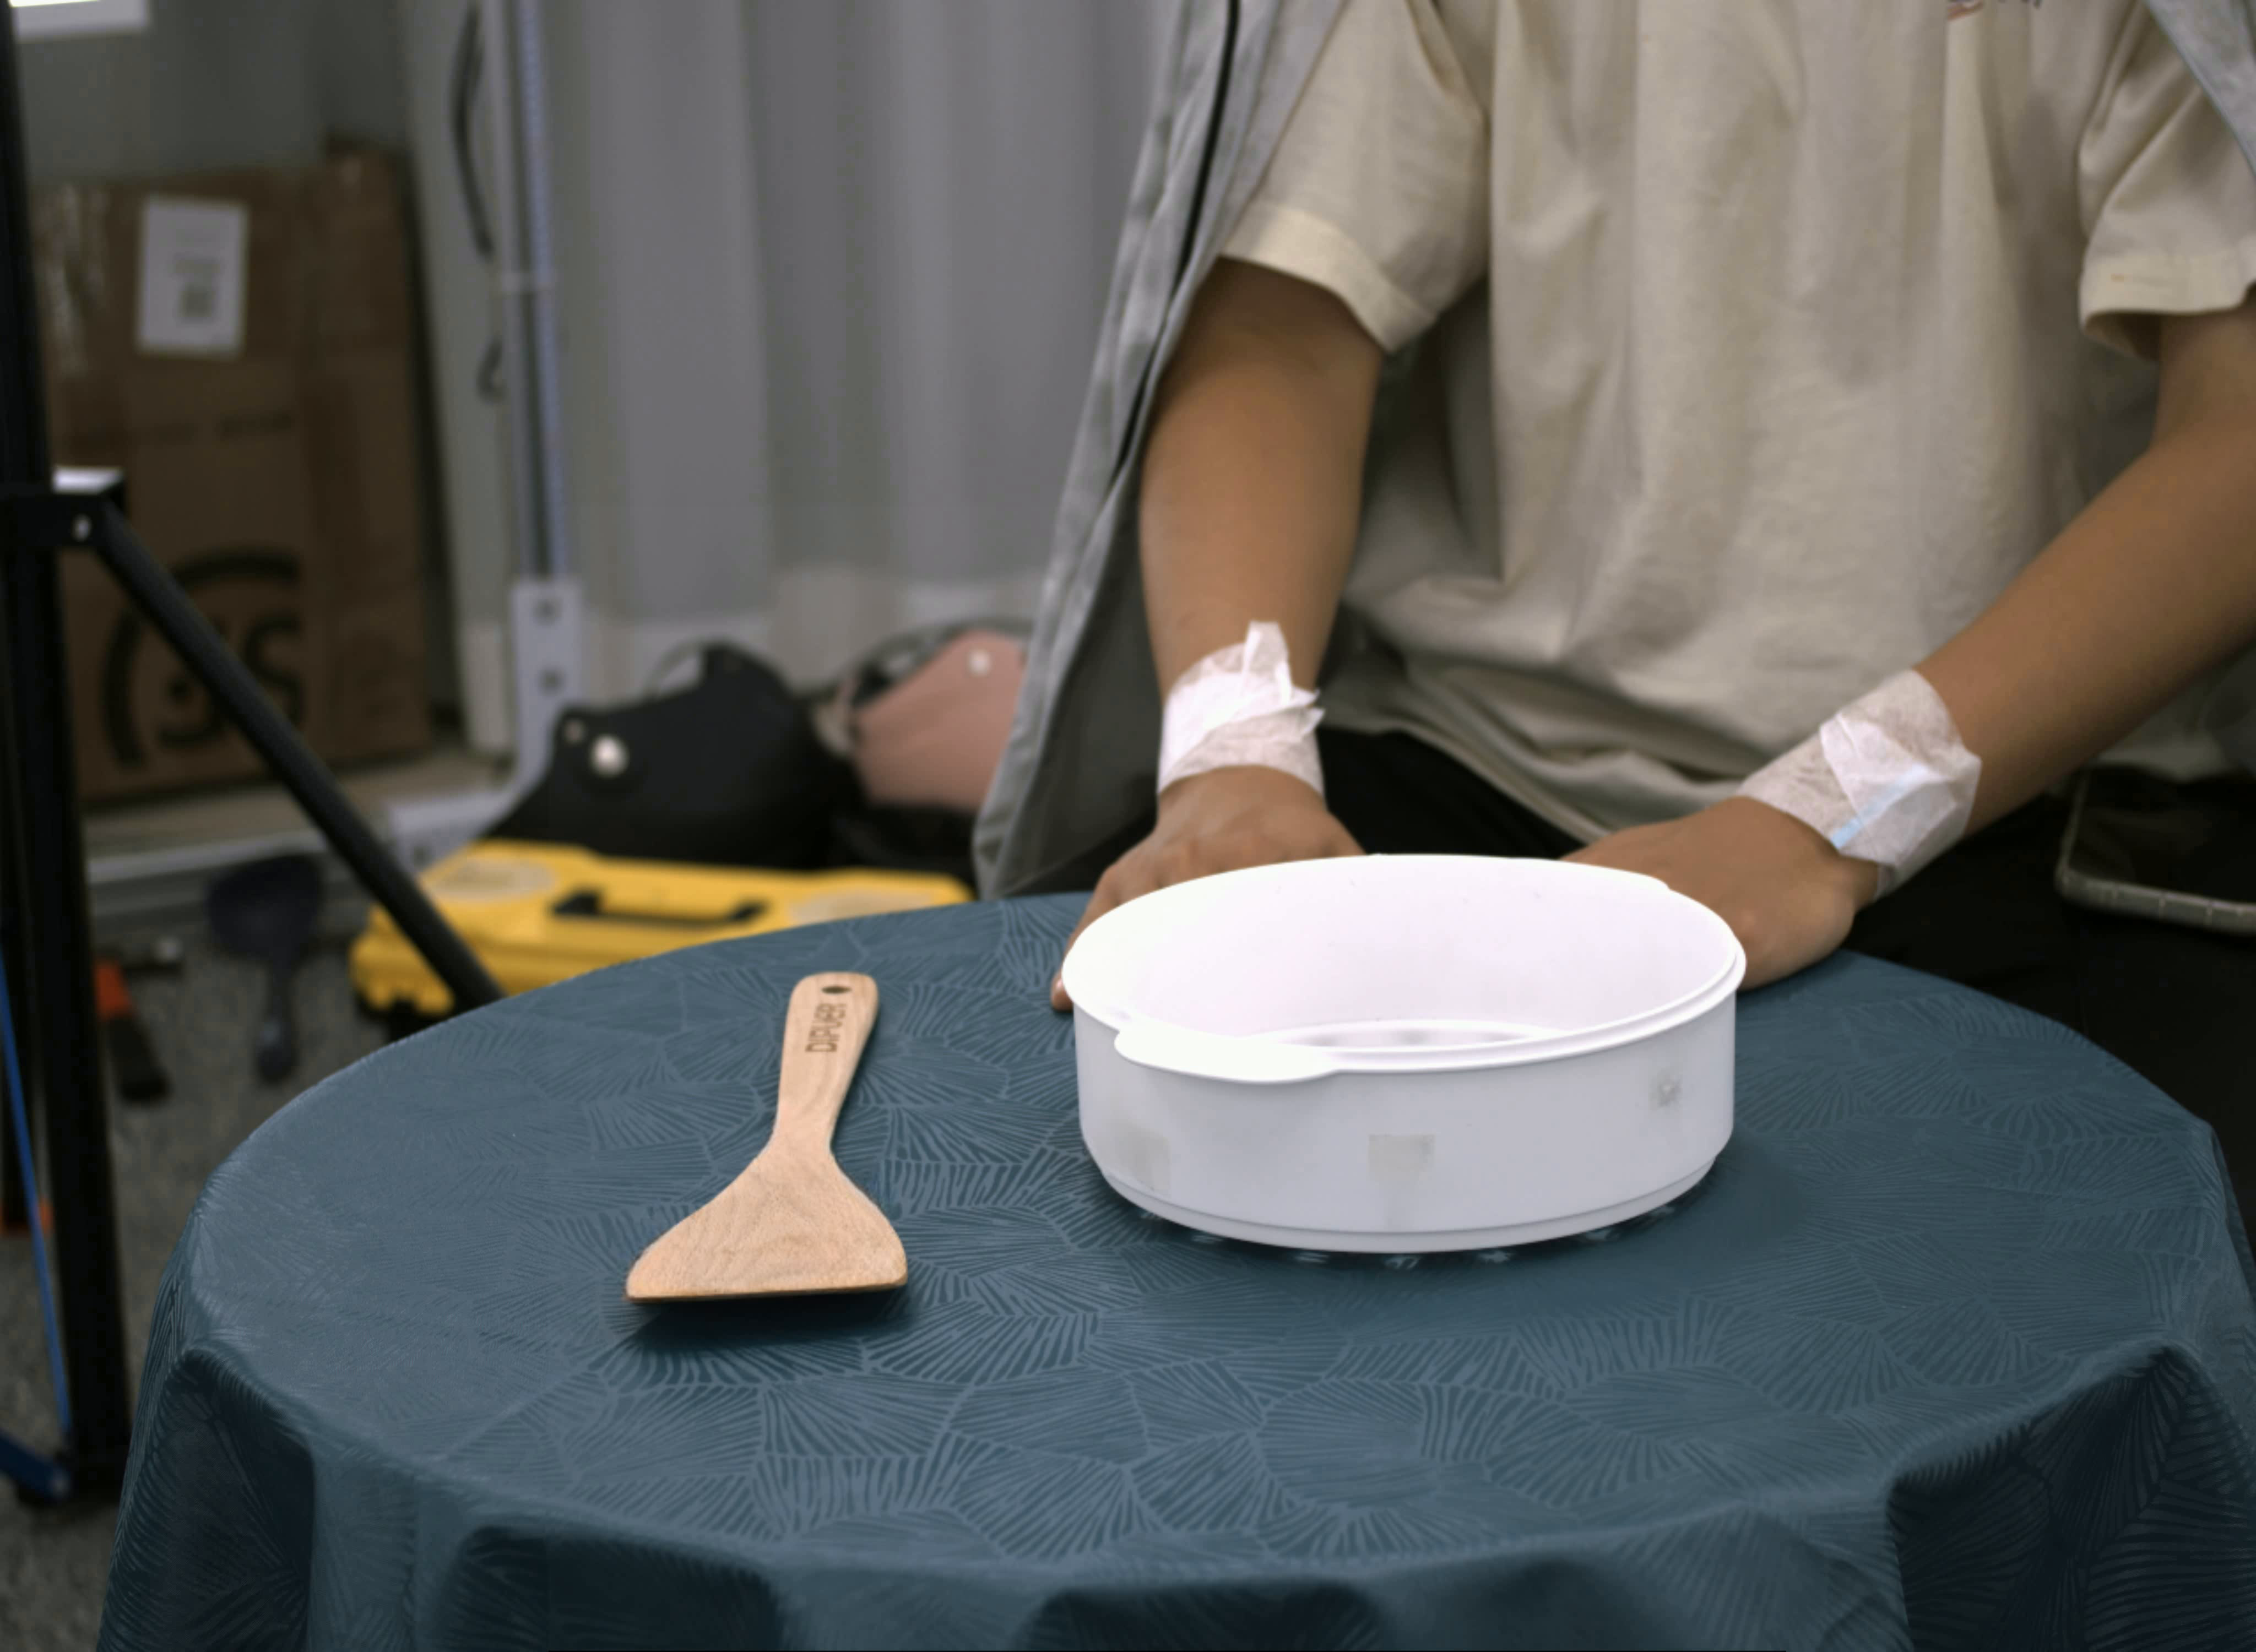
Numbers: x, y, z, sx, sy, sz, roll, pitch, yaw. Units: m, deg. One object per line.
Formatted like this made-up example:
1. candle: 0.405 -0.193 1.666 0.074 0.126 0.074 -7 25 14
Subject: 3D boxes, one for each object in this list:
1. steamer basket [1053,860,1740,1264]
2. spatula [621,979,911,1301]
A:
1. steamer basket: 0.078 0.069 1.560 0.206 0.069 0.226 10 19 34
2. spatula: -0.099 0.091 1.600 0.079 0.016 0.328 -2 15 1
